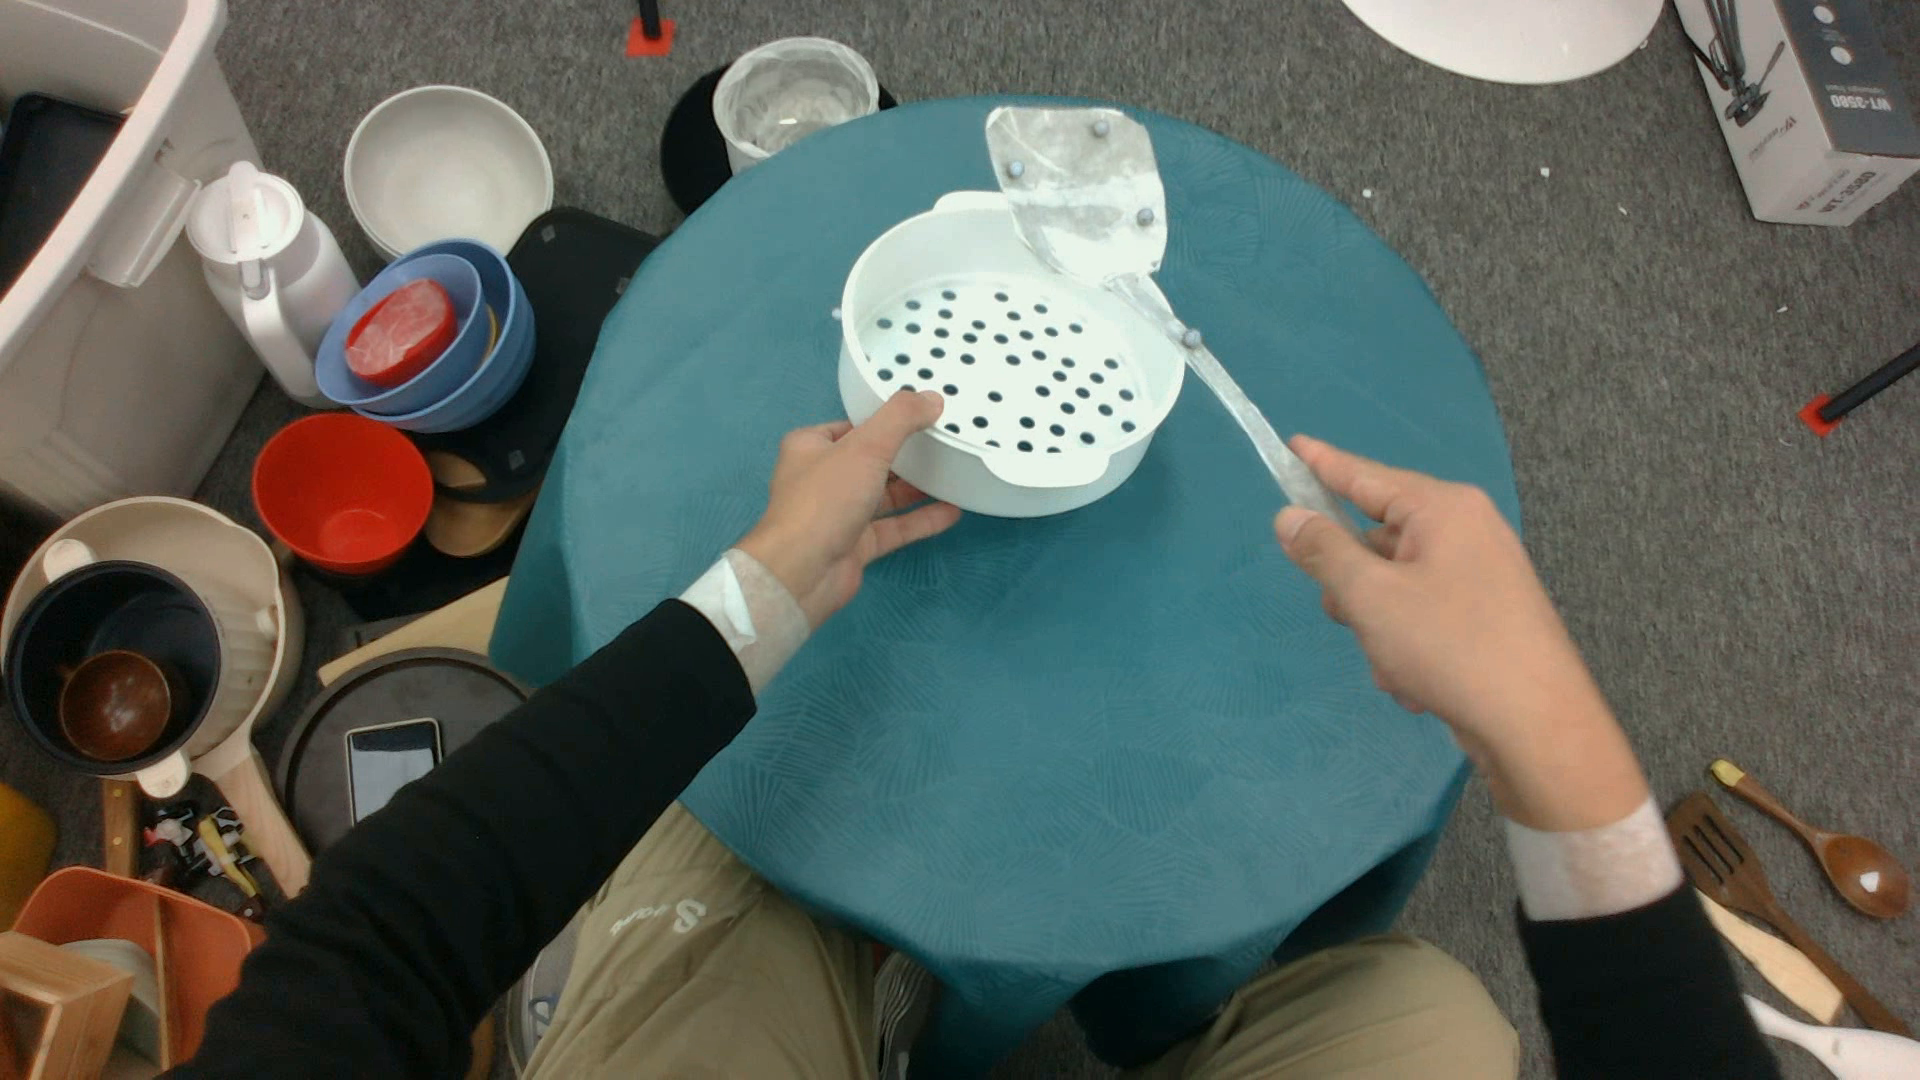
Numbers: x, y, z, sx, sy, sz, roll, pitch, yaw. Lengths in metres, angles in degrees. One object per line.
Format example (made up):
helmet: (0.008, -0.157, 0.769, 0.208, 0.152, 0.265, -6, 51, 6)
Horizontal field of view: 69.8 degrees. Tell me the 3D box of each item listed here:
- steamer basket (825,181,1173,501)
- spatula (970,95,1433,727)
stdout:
steamer basket: (0.020, -0.114, 0.810, 0.202, 0.069, 0.231, 0, 53, -13)
spatula: (0.108, -0.077, 0.599, 0.099, 0.044, 0.366, -6, 49, -30)
